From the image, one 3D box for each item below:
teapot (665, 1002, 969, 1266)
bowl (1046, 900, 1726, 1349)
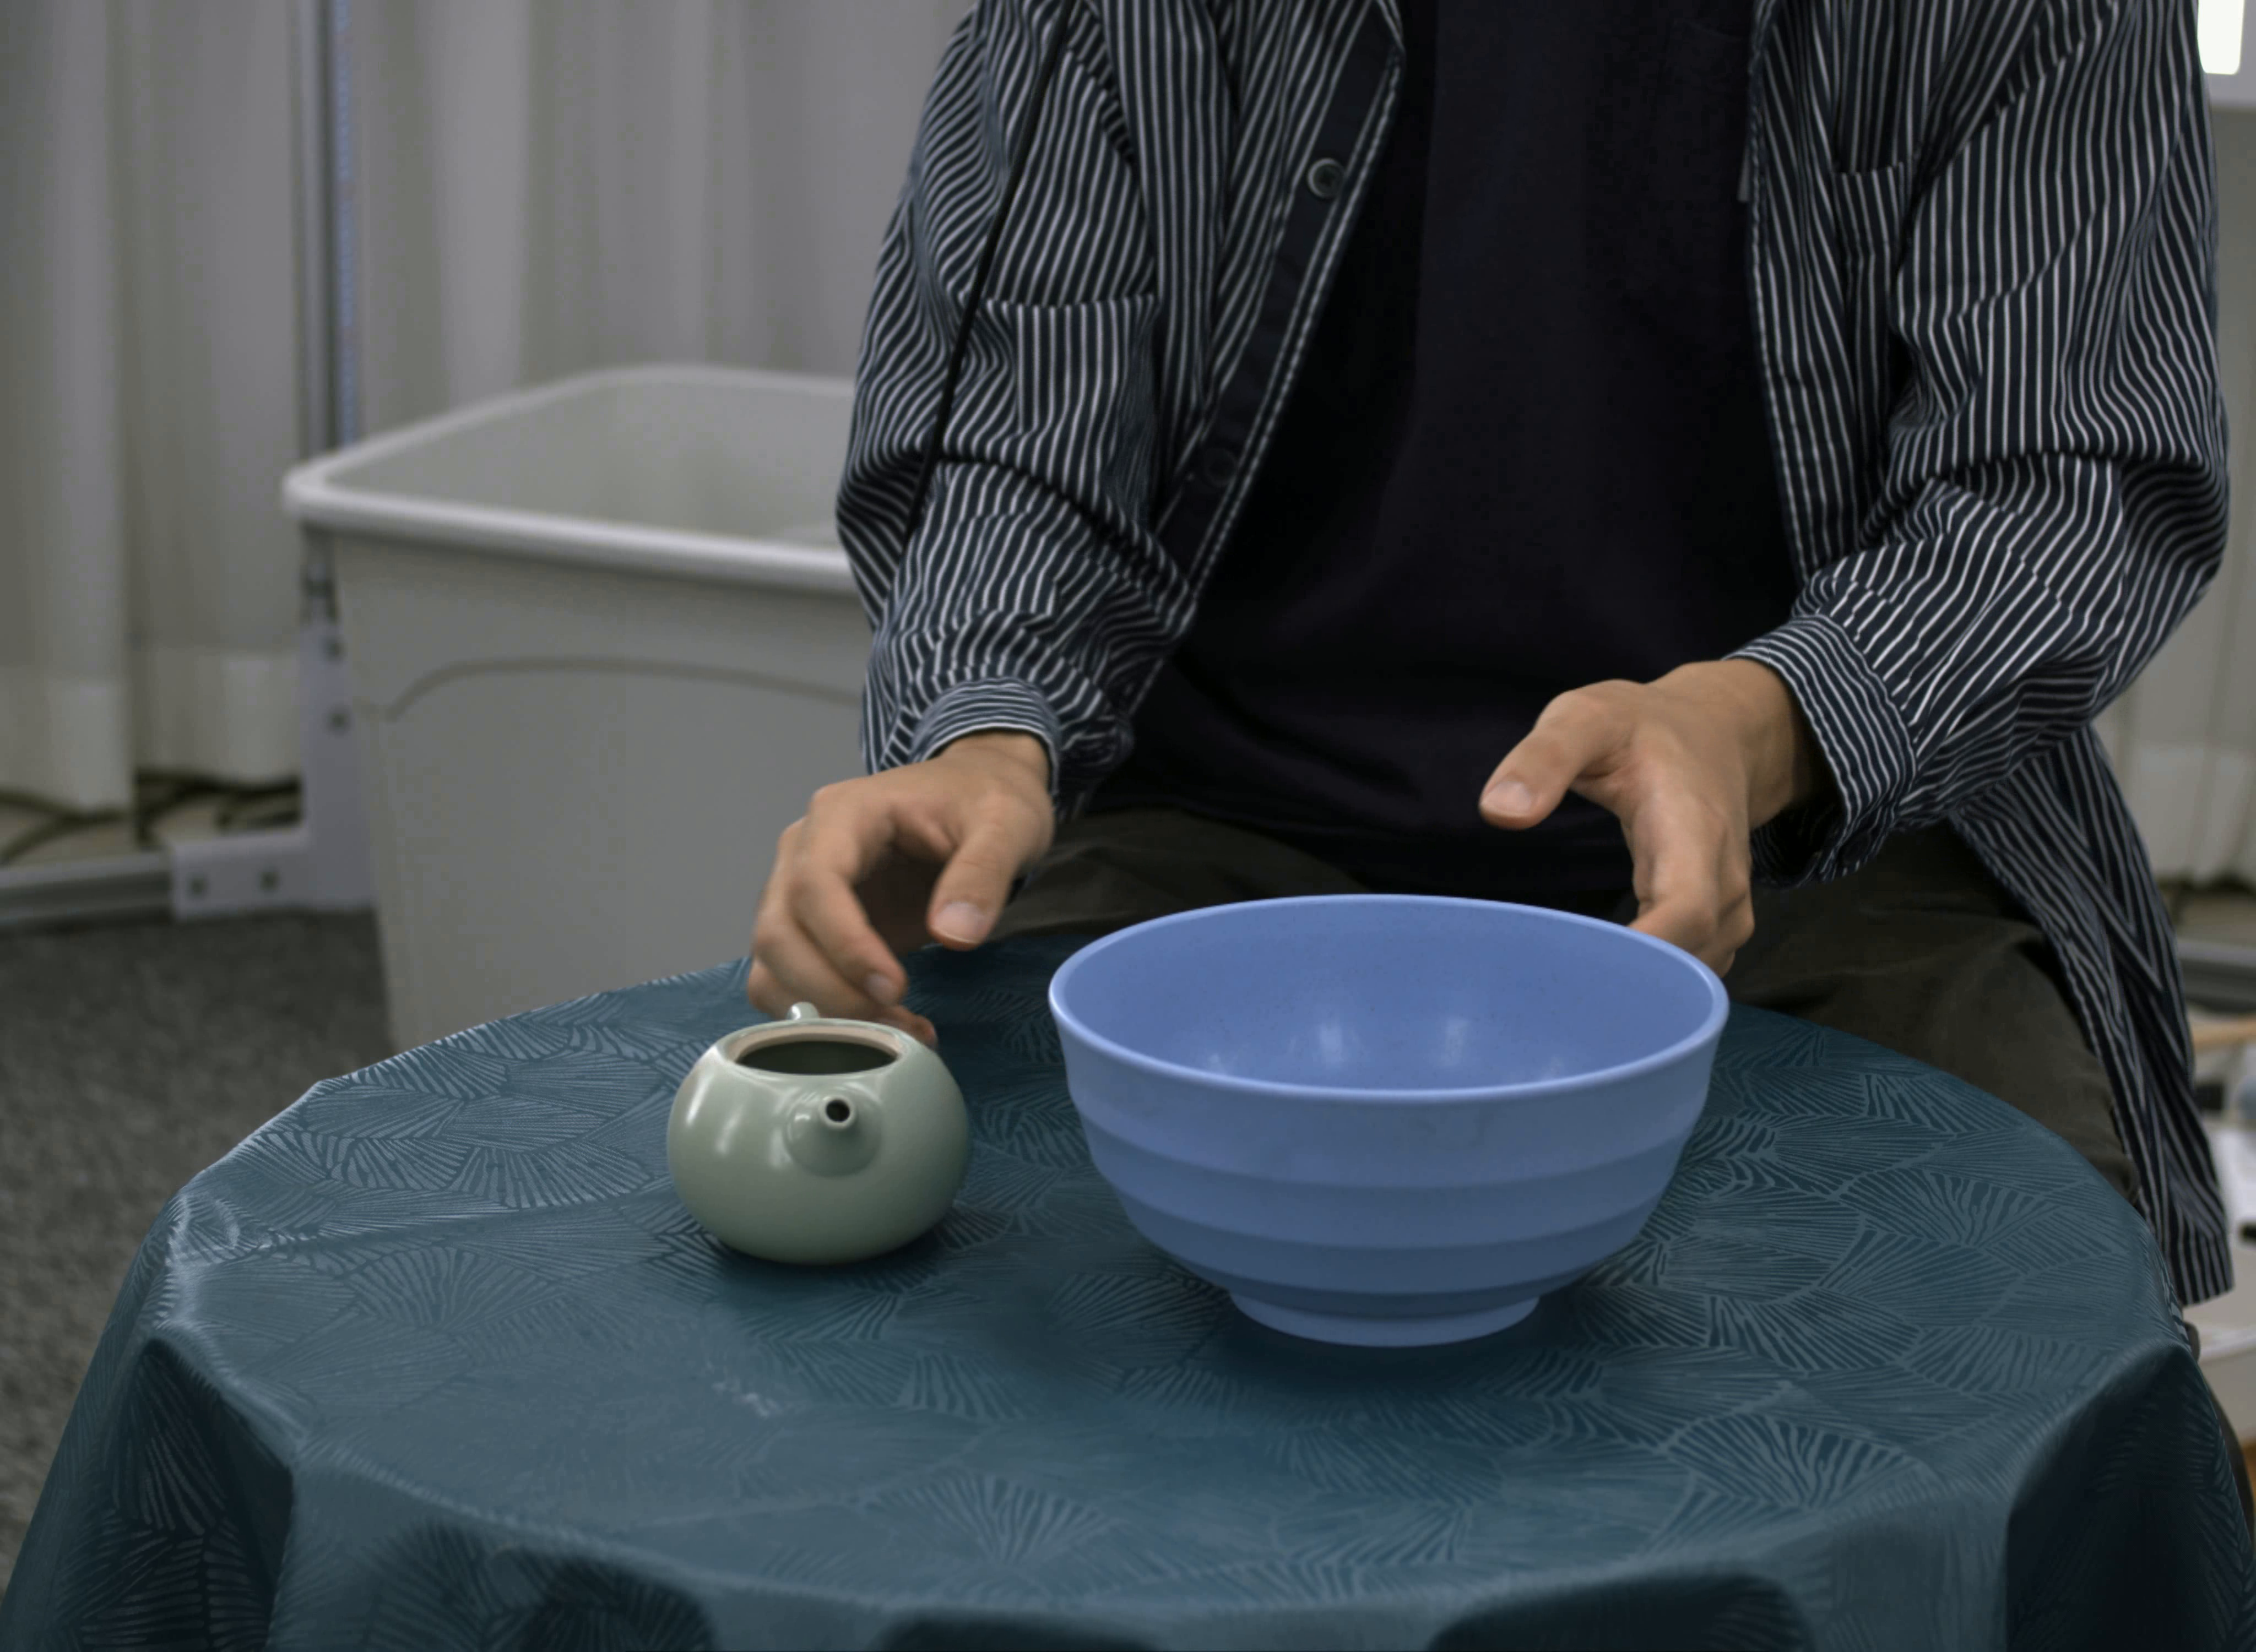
[{"bbox_3d":[-0.094,0.092,1.588,0.091,0.061,0.127,-3,15,-4],"label":"teapot"},{"bbox_3d":[0.075,0.092,1.531,0.196,0.096,0.195,0,15,1],"label":"bowl"}]
